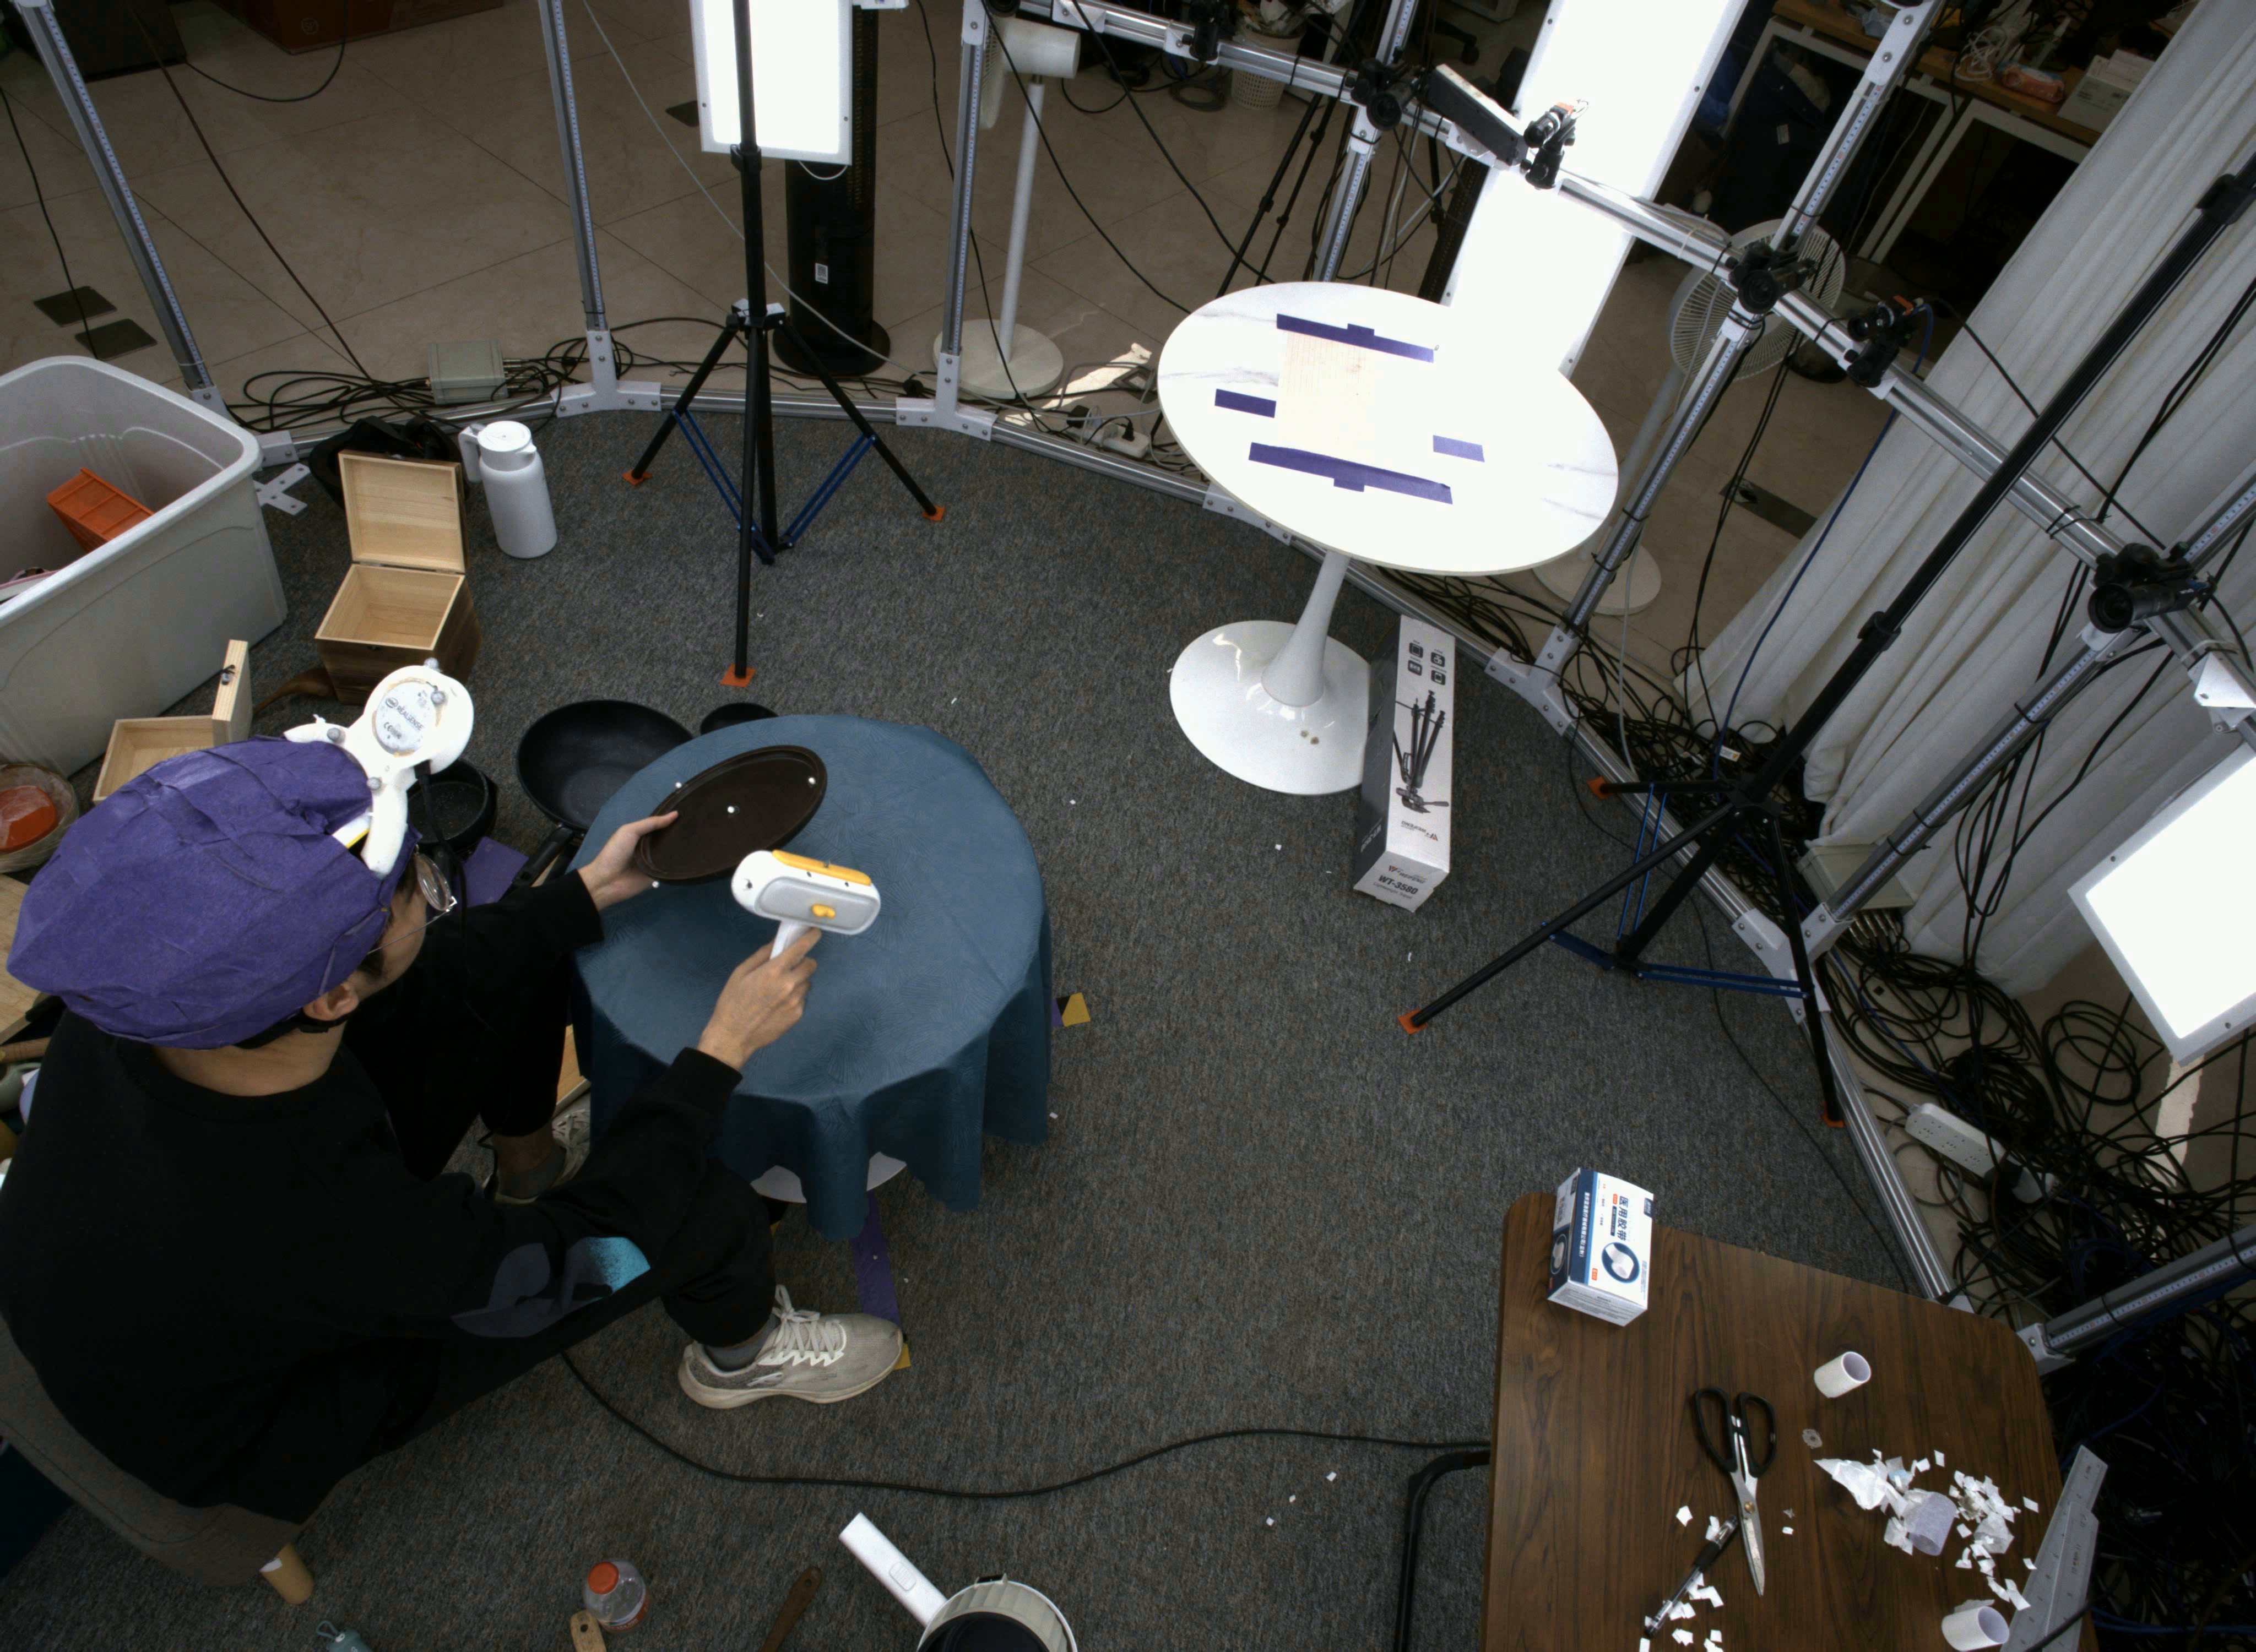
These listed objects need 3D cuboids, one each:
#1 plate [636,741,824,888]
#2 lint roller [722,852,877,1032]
[{"bbox_3d":[-0.483,-0.017,1.571,0.250,0.030,0.249,-14,37,13],"label":"plate"},{"bbox_3d":[-0.378,0.130,1.448,0.071,0.194,0.197,29,9,31],"label":"lint roller"}]
